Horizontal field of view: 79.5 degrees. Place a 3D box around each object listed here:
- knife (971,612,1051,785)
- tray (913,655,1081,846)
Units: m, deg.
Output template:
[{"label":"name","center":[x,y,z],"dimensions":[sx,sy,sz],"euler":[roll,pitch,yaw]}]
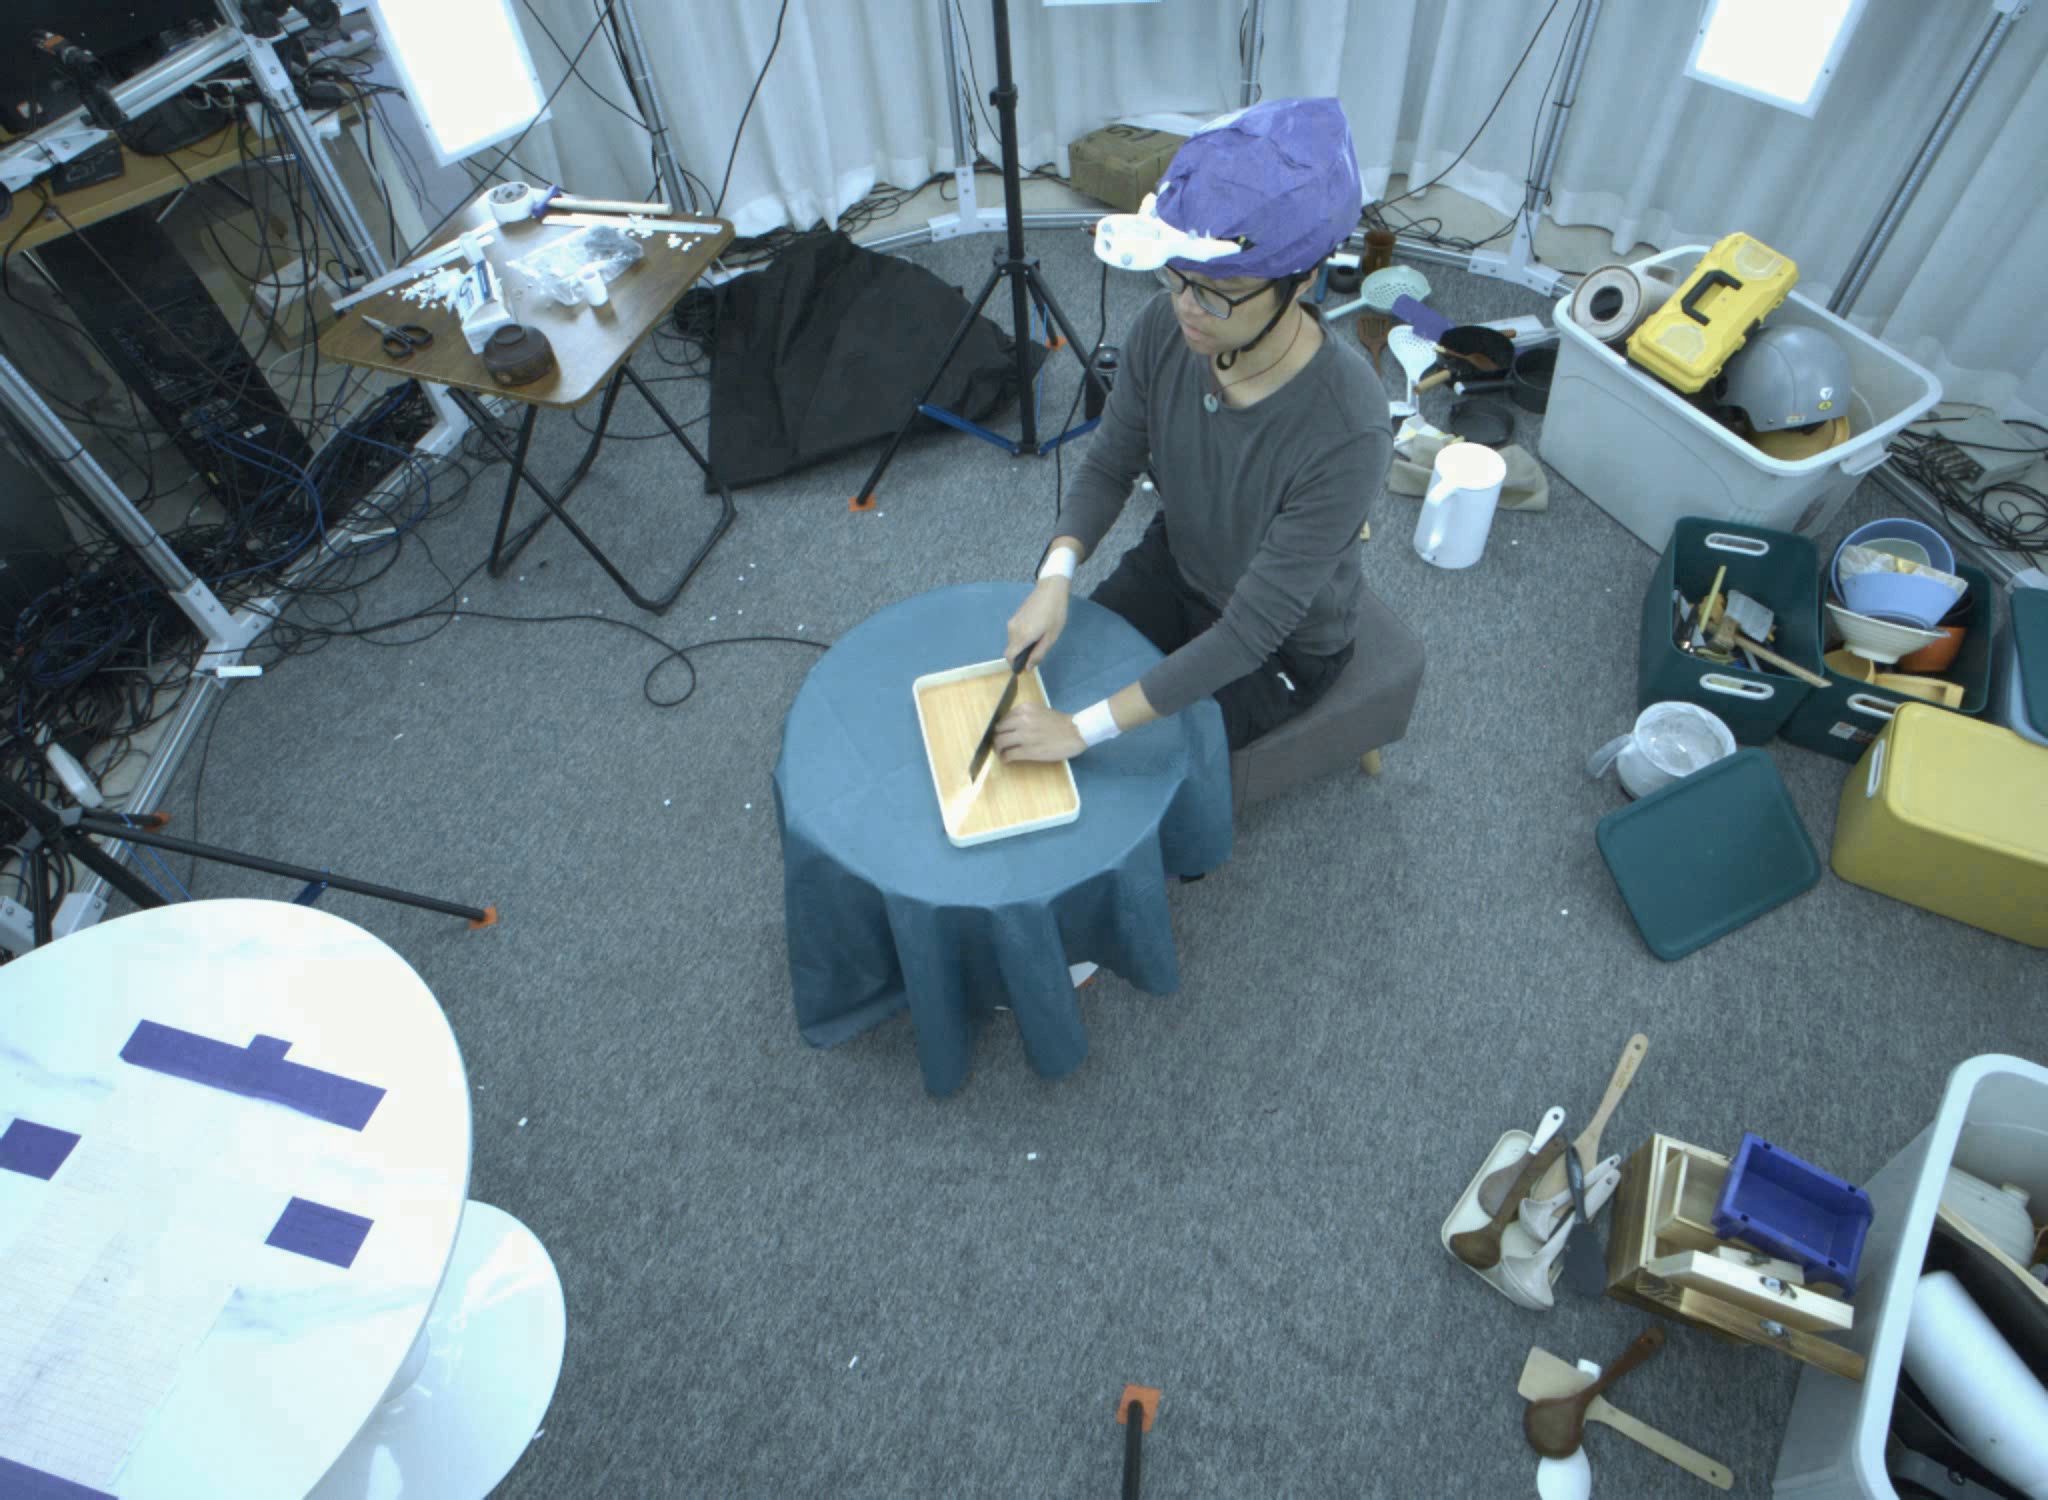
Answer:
[{"label":"knife","center":[-0.021,-0.082,1.784],"dimensions":[0.020,0.081,0.302],"euler":[18,62,11]},{"label":"tray","center":[-0.044,-0.006,1.784],"dimensions":[0.192,0.028,0.295],"euler":[-12,55,-7]}]
